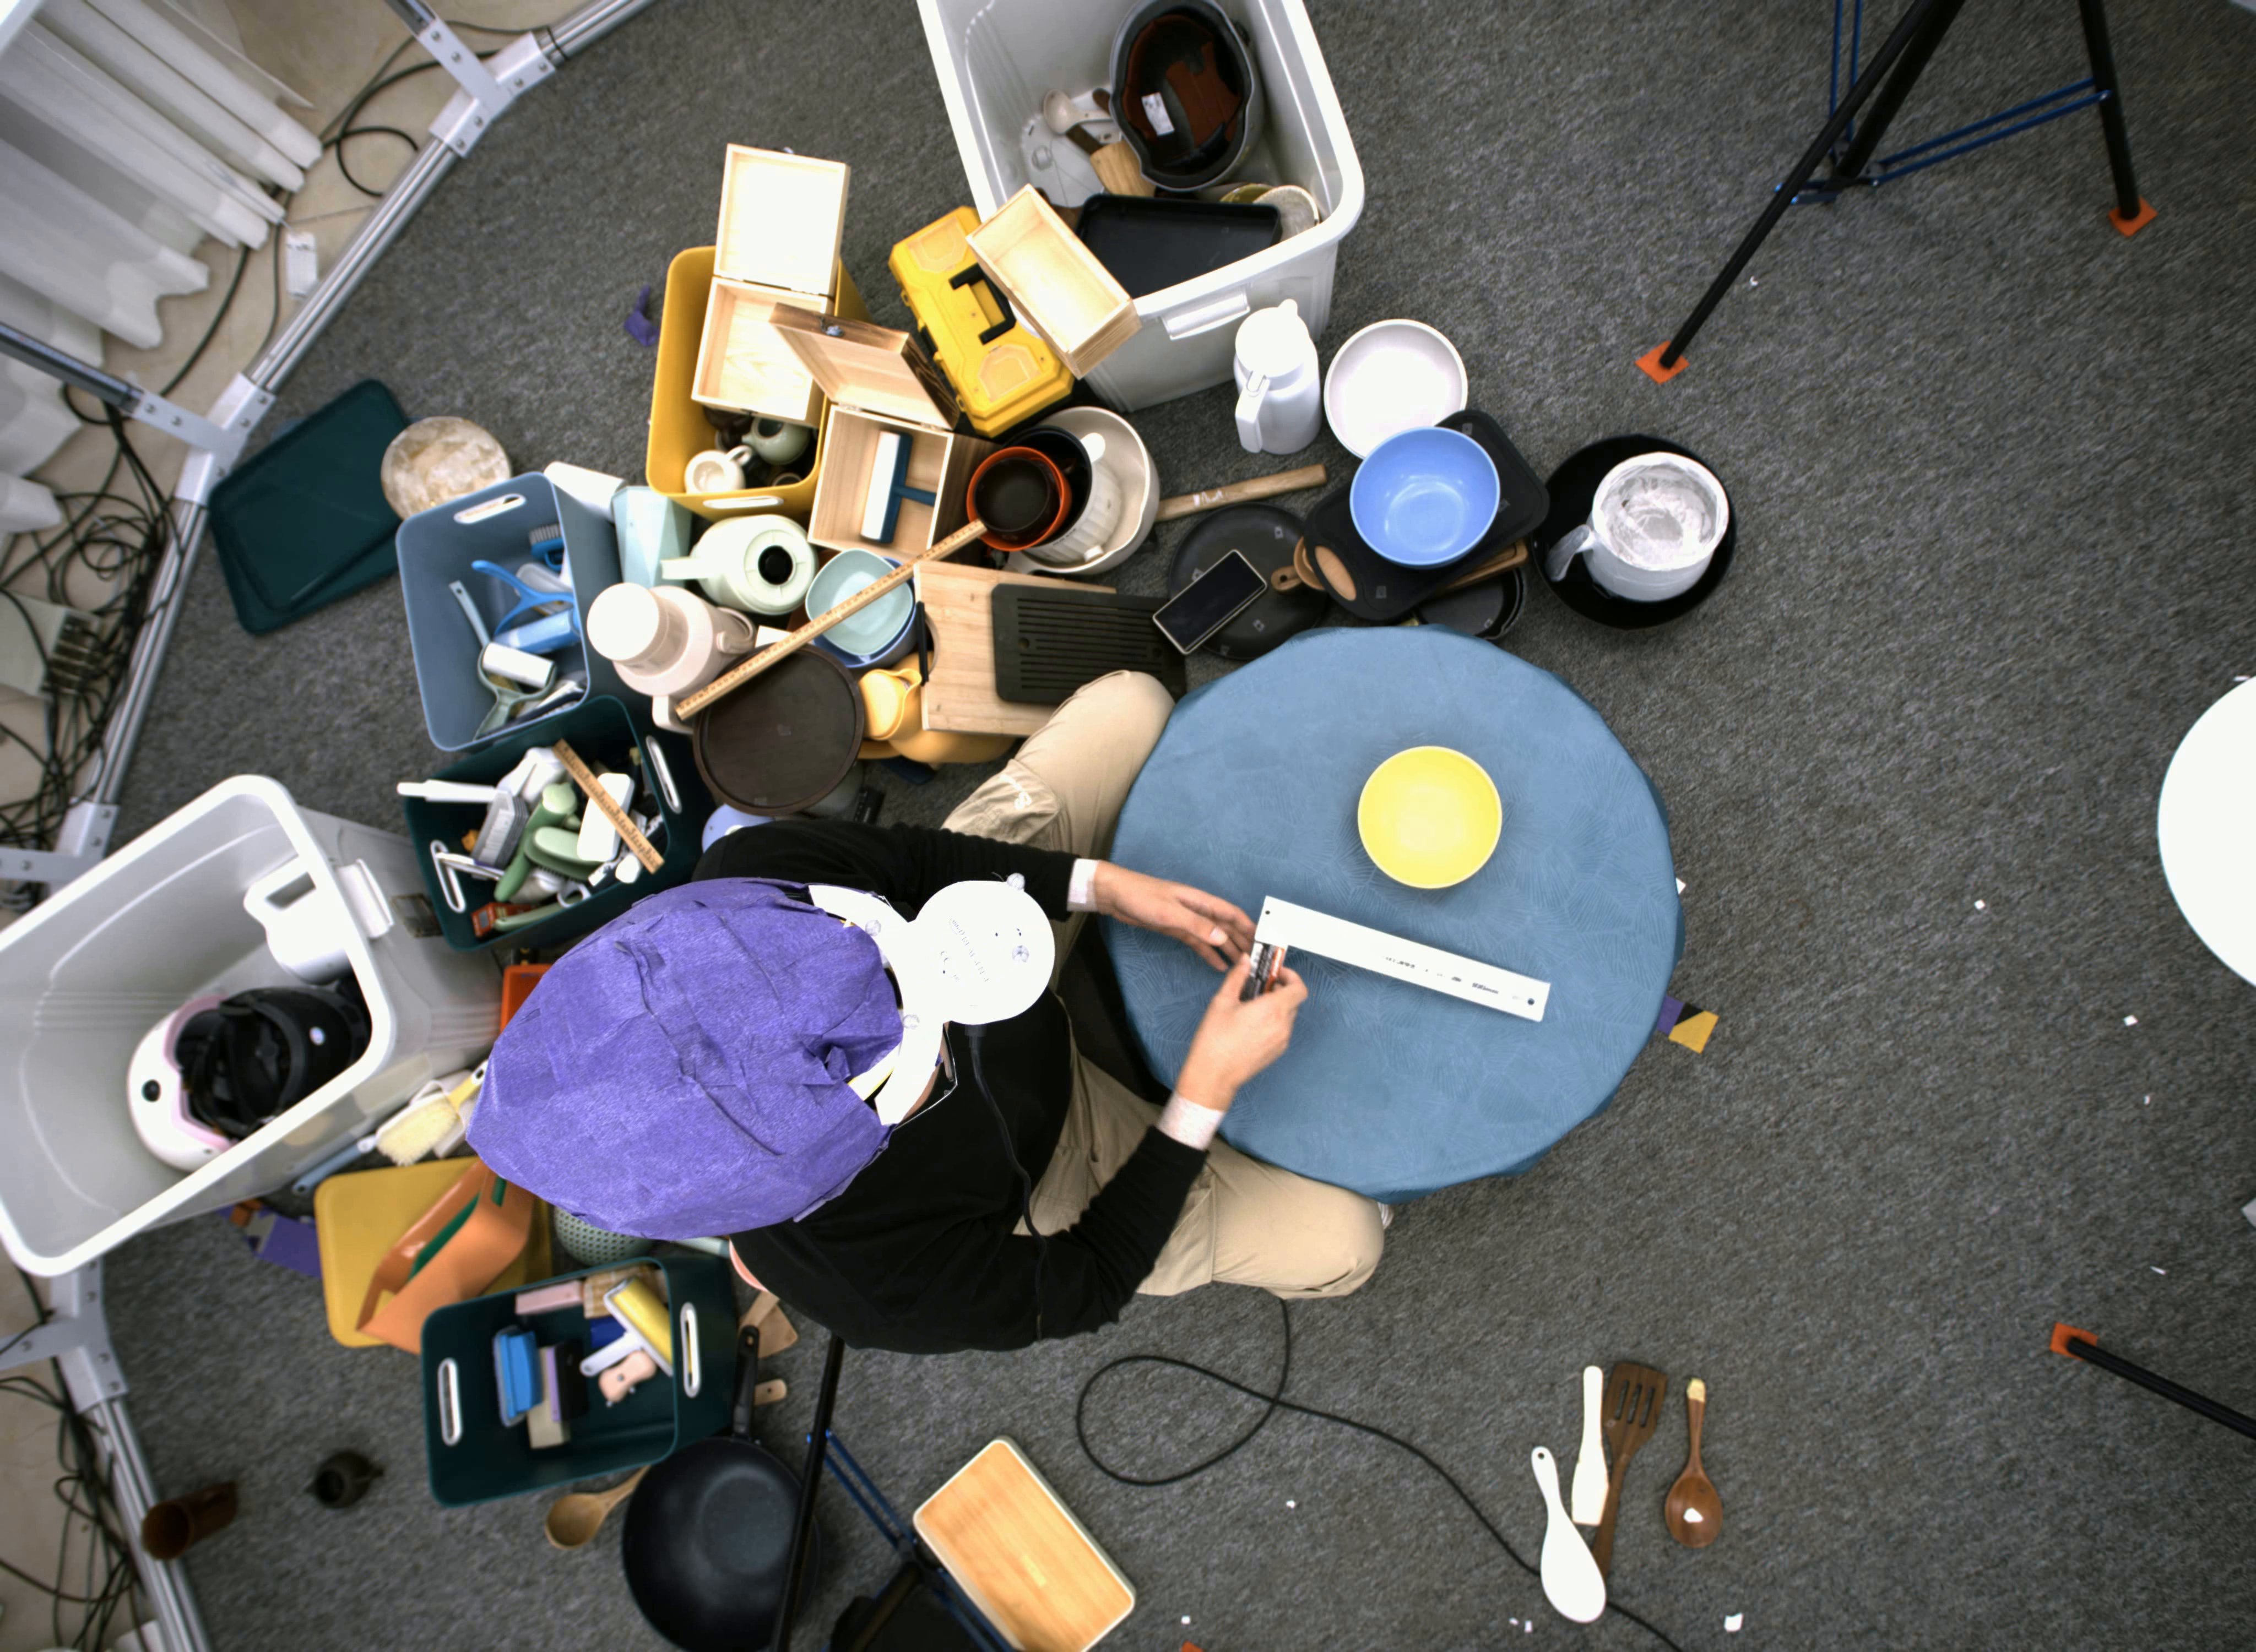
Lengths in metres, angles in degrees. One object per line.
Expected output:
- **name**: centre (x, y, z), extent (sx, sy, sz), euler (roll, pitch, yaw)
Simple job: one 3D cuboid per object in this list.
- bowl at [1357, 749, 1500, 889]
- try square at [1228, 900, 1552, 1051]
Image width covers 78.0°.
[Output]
- **bowl**: centre (0.312, -0.005, 1.429), extent (0.146, 0.060, 0.144), euler (-1, 85, 13)
- **try square**: centre (0.269, 0.186, 1.415), extent (0.313, 0.016, 0.151), euler (15, 86, -1)
